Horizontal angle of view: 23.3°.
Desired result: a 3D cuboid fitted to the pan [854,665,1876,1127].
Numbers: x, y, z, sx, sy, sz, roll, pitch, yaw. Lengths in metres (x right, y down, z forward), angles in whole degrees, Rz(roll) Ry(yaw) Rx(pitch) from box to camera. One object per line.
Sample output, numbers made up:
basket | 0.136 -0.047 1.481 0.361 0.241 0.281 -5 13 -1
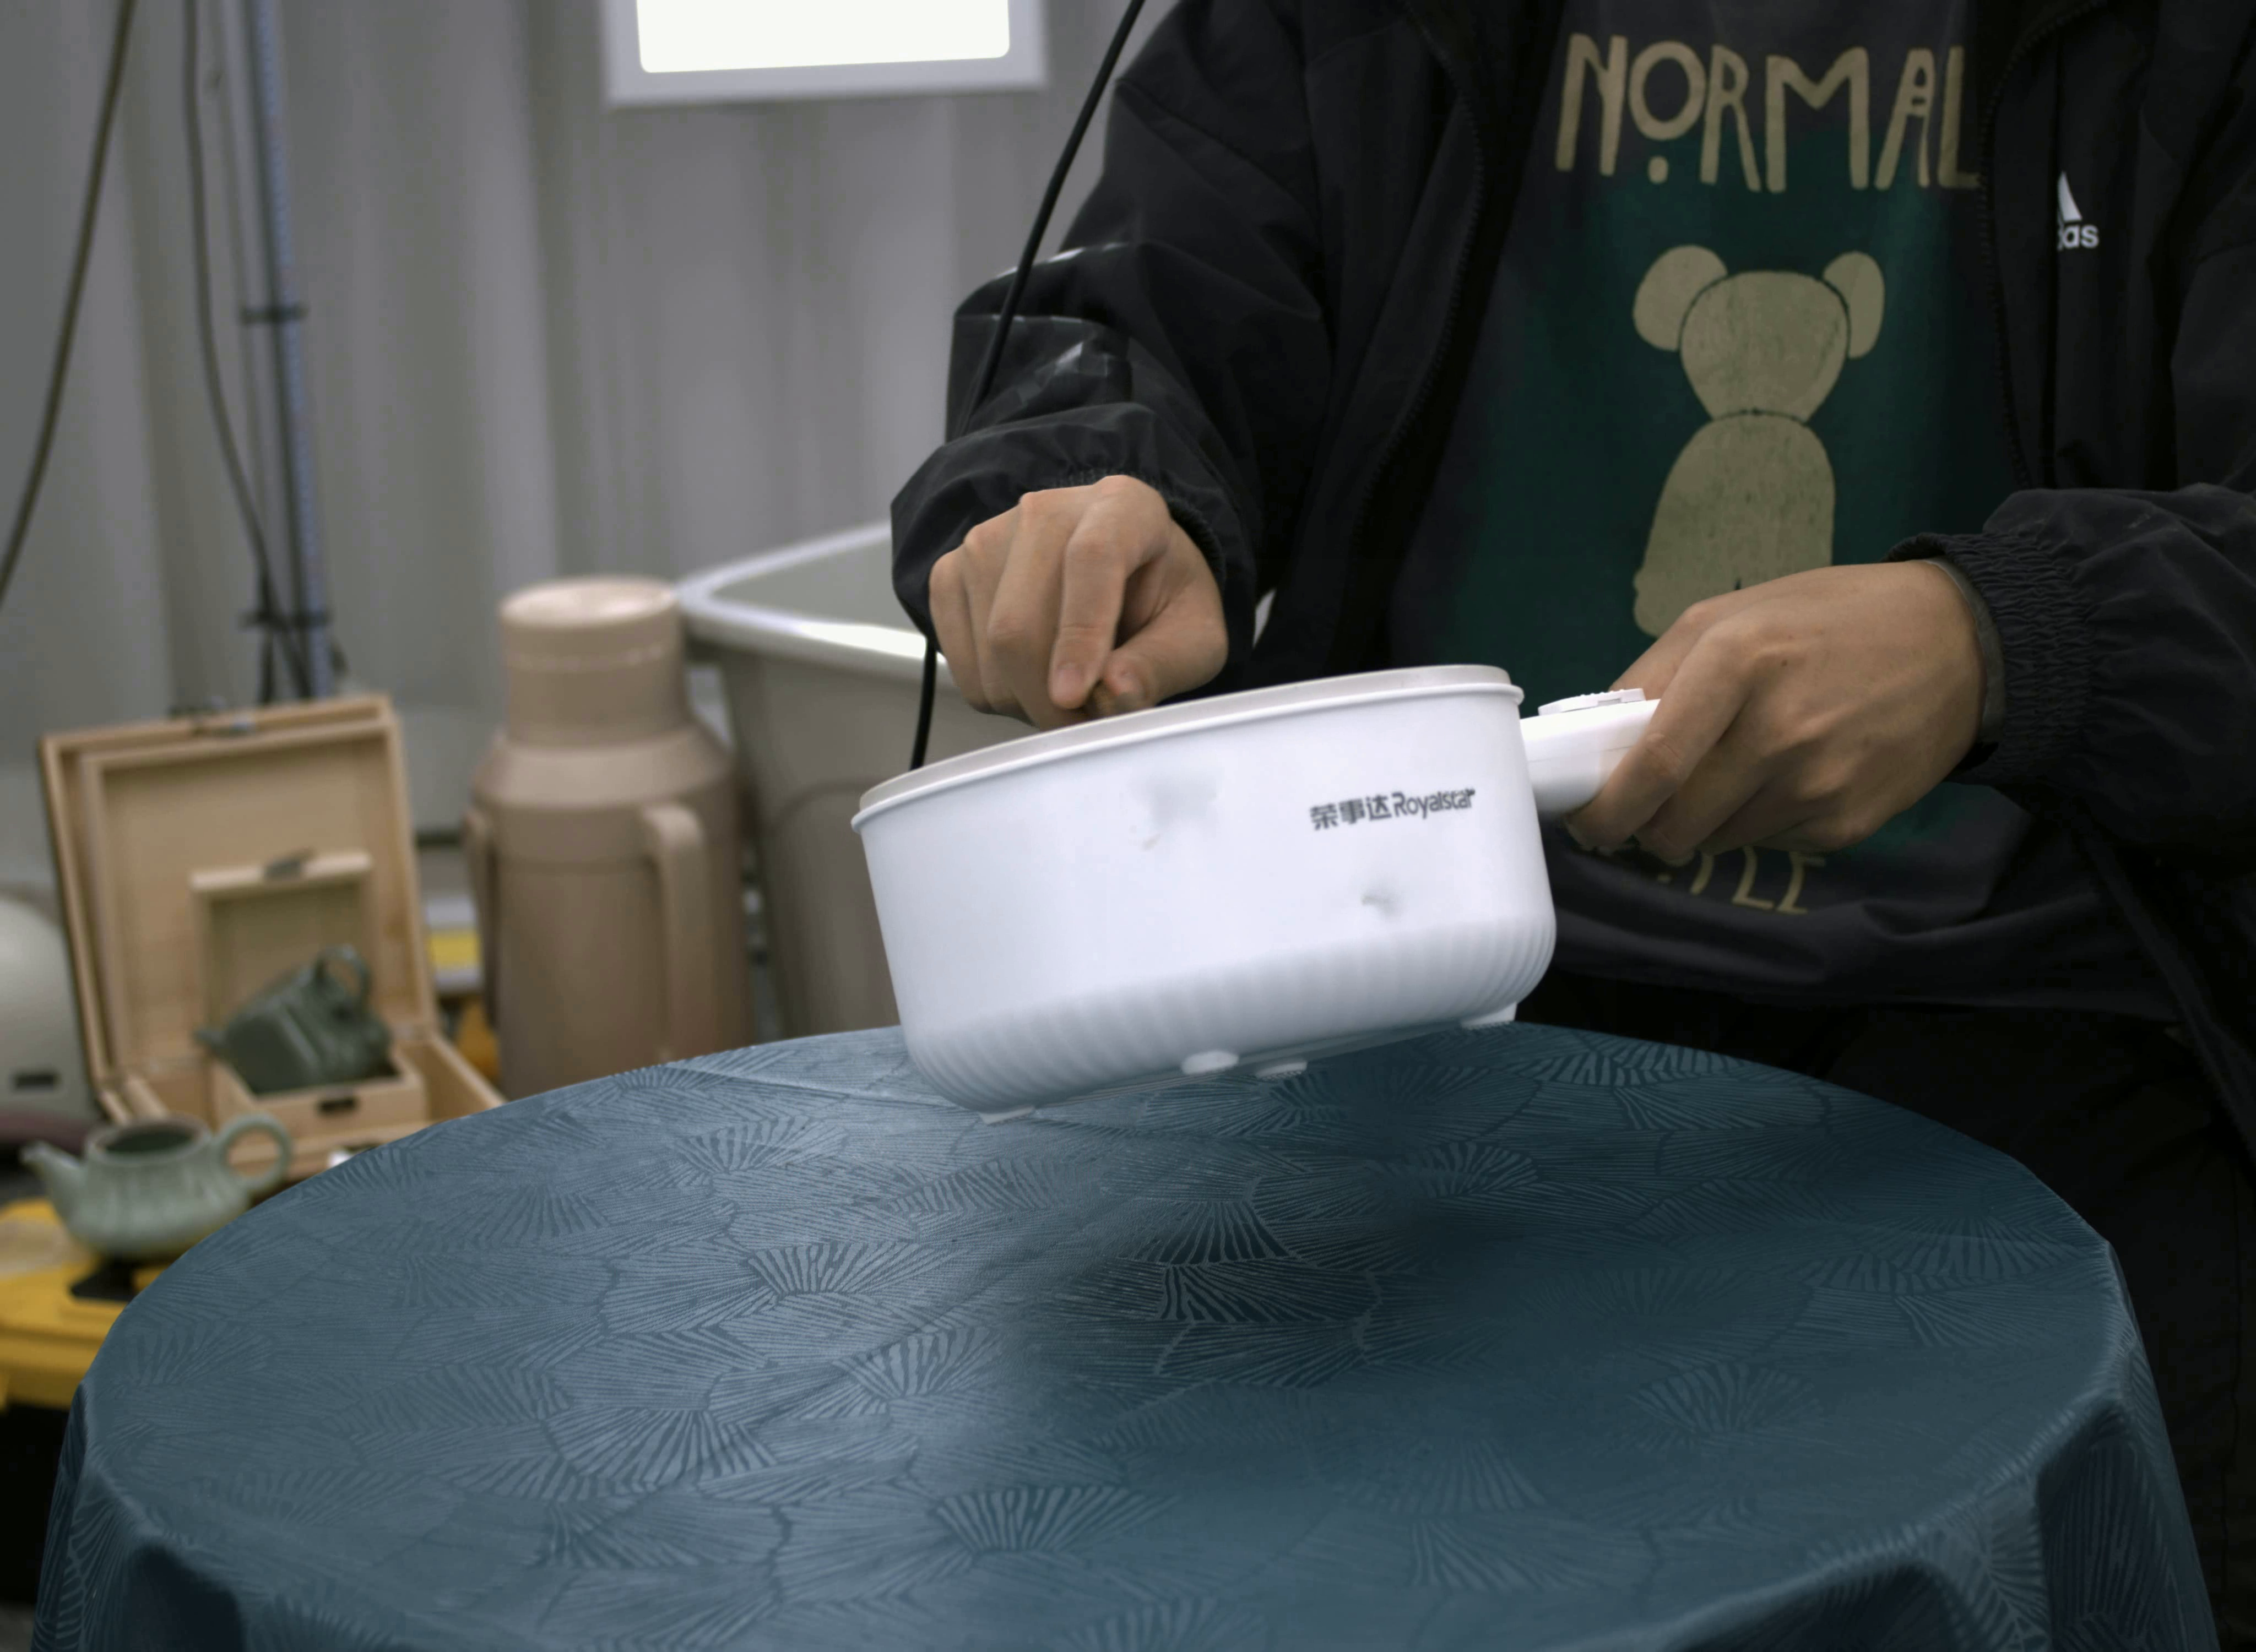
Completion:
pan | 0.088 0.018 1.646 0.353 0.103 0.201 -5 -9 -36

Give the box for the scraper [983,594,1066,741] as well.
scraper | -0.023 -0.027 1.667 0.011 0.075 0.213 -26 23 0
